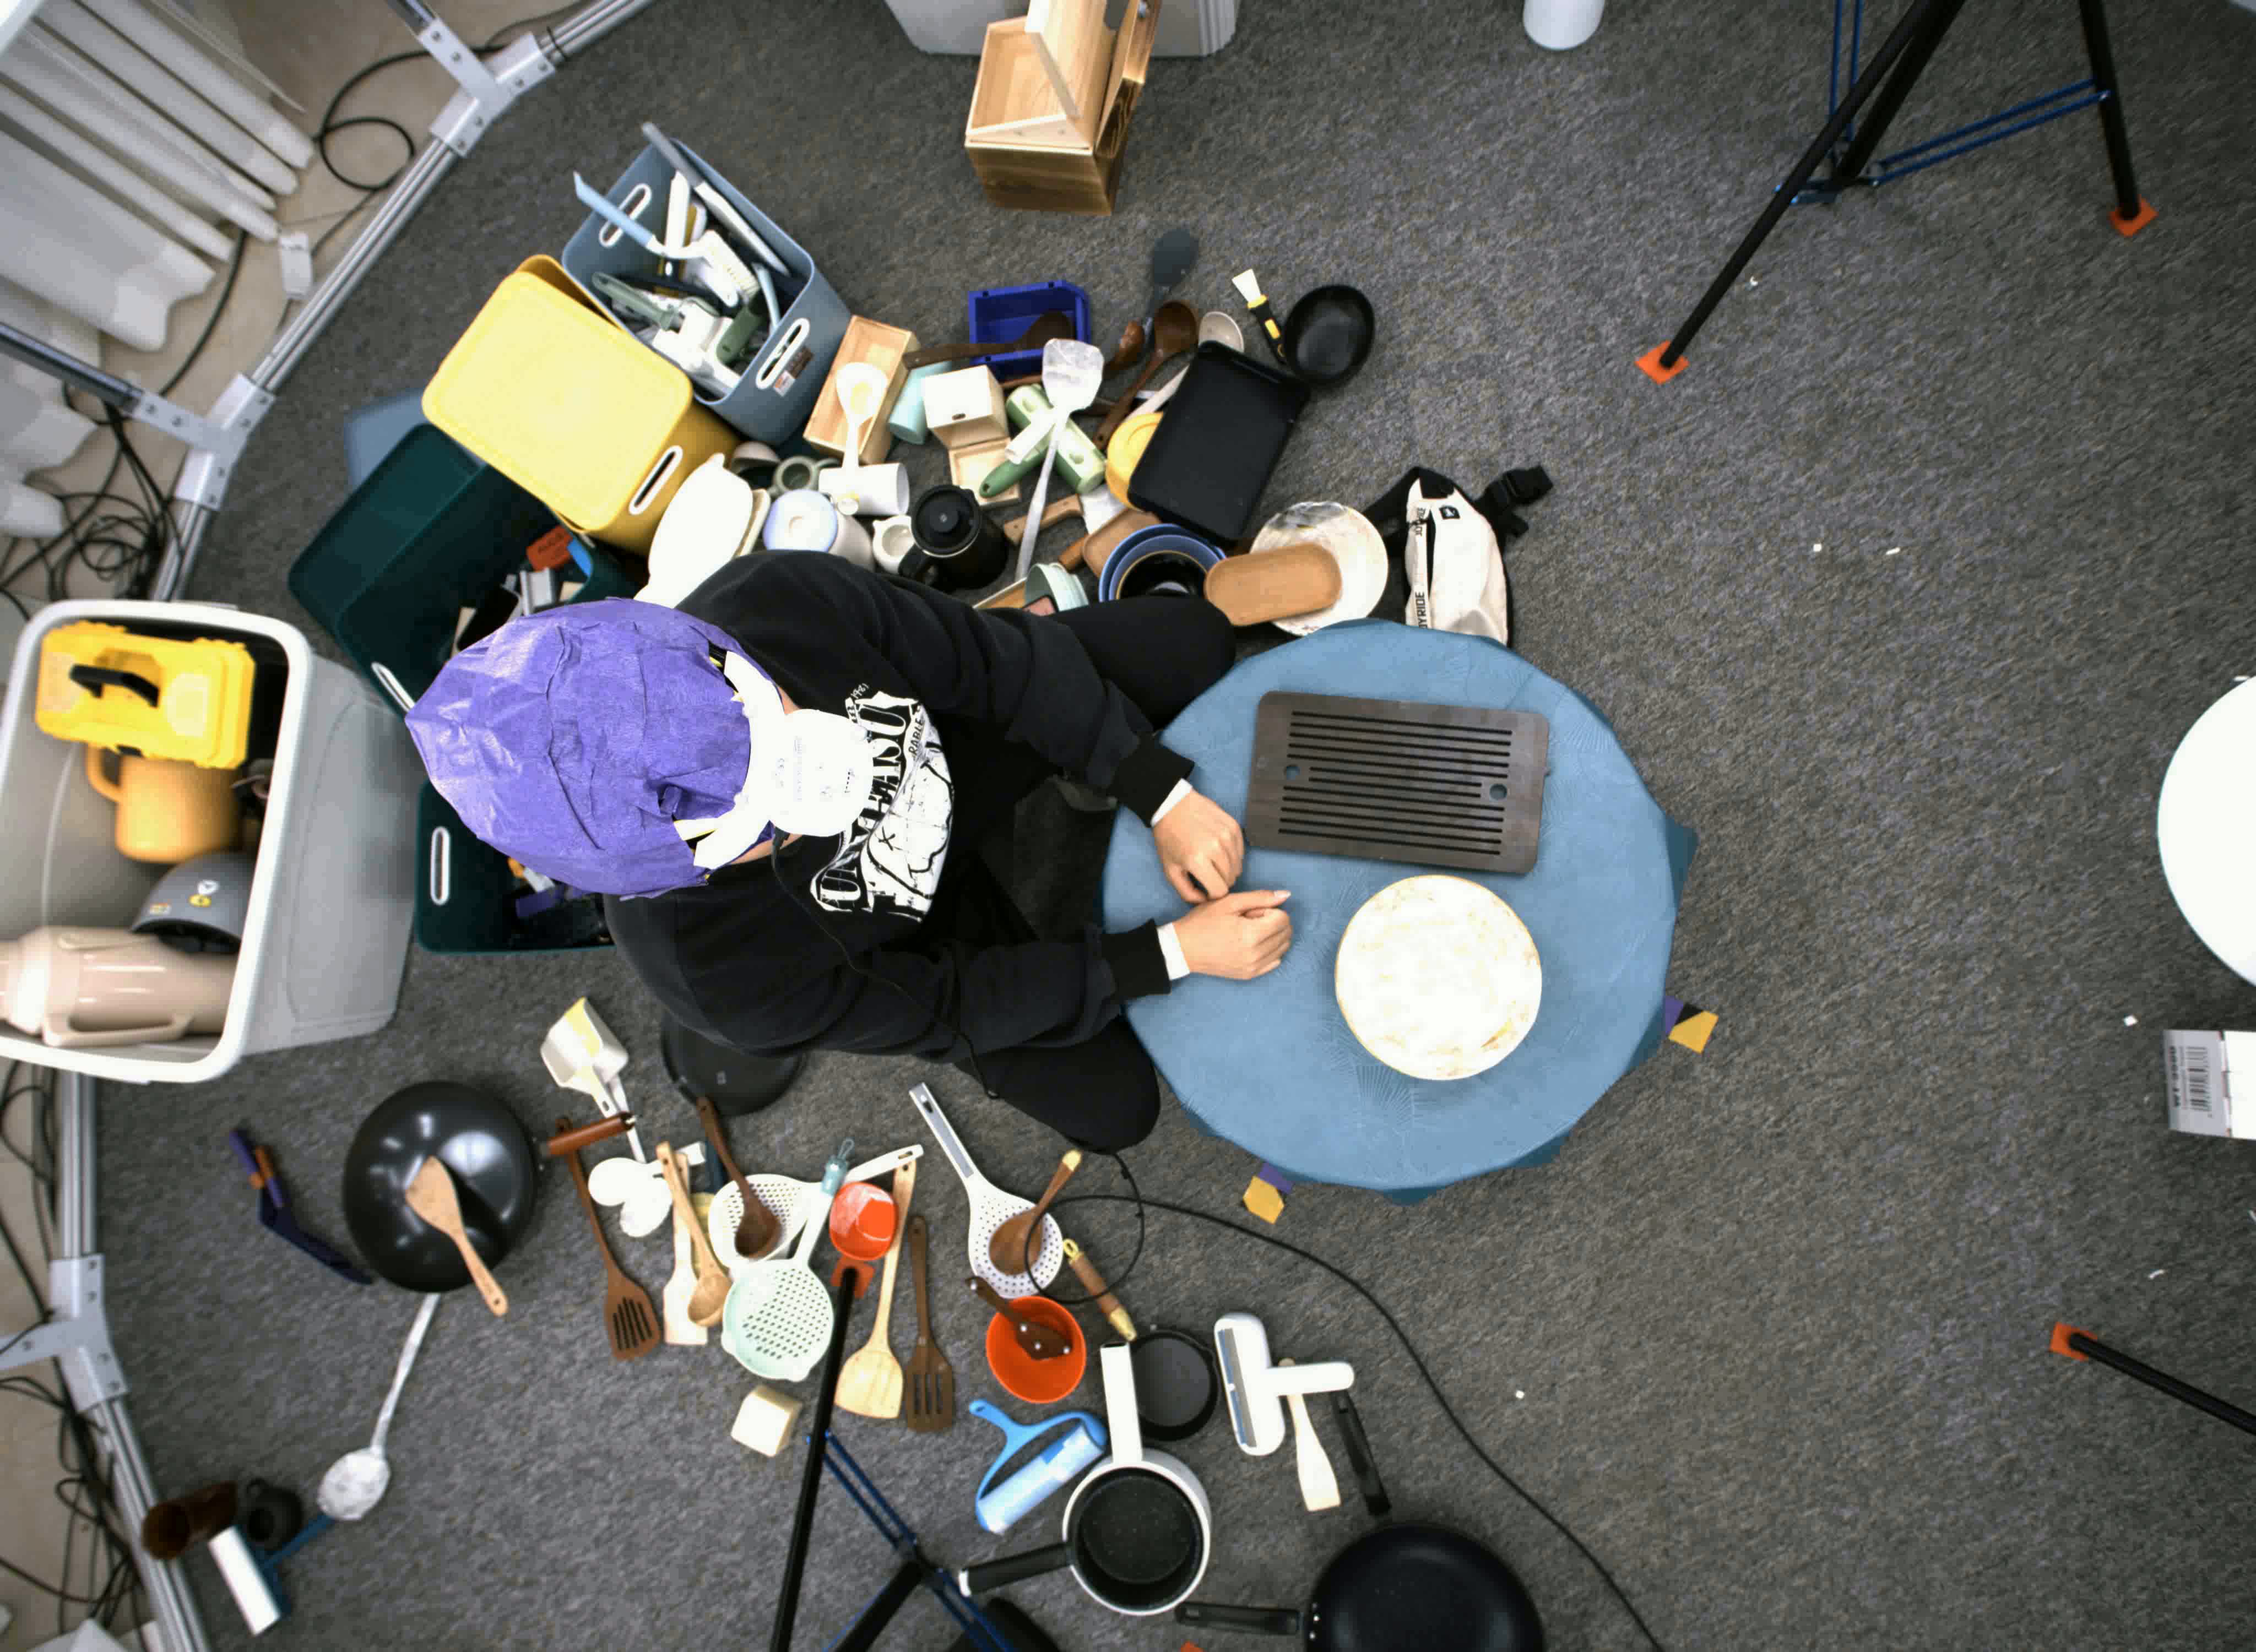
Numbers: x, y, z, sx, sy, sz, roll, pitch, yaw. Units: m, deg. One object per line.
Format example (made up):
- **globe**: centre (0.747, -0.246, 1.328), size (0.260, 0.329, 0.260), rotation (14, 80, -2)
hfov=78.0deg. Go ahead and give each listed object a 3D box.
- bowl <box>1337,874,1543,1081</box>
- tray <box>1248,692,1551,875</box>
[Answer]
- **bowl**: centre (0.313, 0.149, 1.404), size (0.215, 0.094, 0.214), rotation (-1, 87, 11)
- **tray**: centre (0.286, -0.048, 1.461), size (0.307, 0.018, 0.169), rotation (6, 87, 11)
